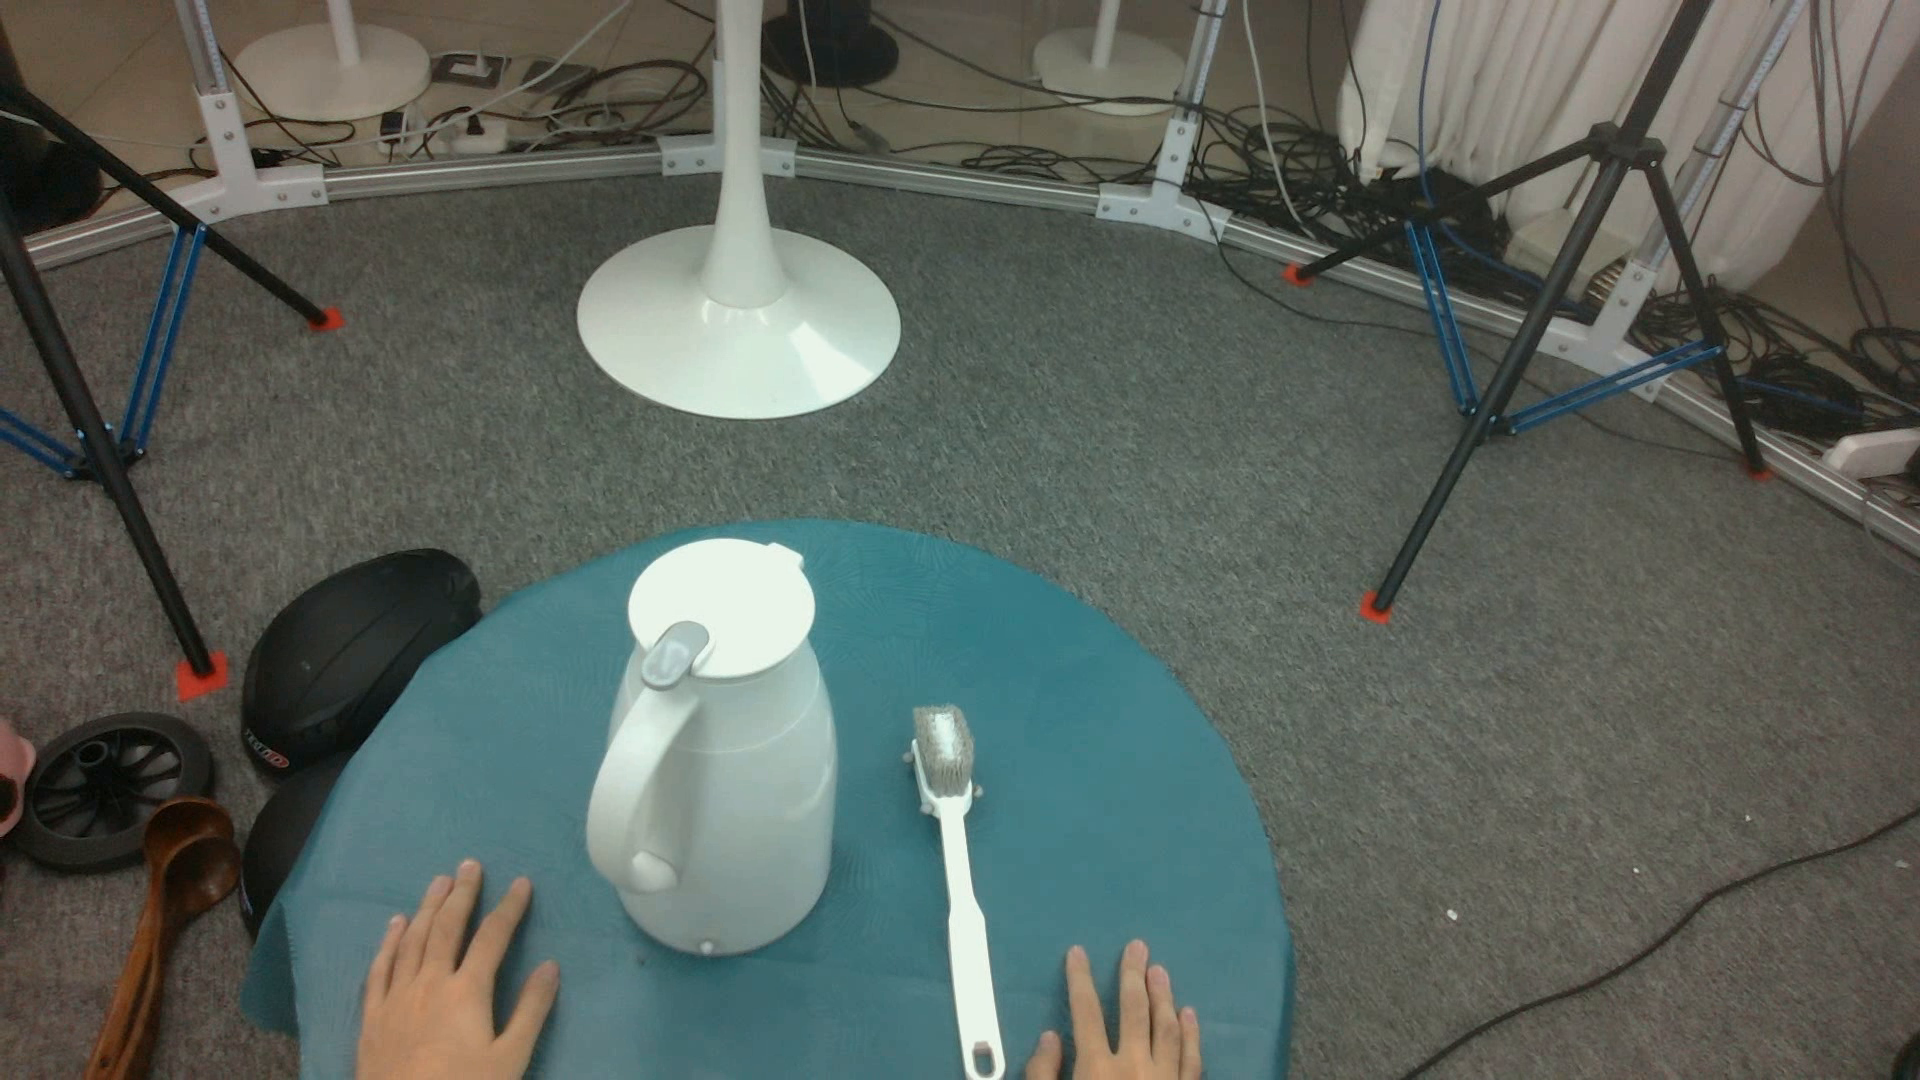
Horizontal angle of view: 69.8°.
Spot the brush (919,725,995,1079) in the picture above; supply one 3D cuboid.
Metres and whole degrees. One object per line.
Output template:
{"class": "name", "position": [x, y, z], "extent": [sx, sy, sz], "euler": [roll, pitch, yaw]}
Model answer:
{"class": "brush", "position": [0.002, 0.217, 0.849], "extent": [0.034, 0.050, 0.244], "euler": [4, 44, -12]}

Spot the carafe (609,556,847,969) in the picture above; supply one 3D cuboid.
{"class": "carafe", "position": [-0.135, 0.135, 0.767], "extent": [0.132, 0.247, 0.168], "euler": [22, 46, 12]}
